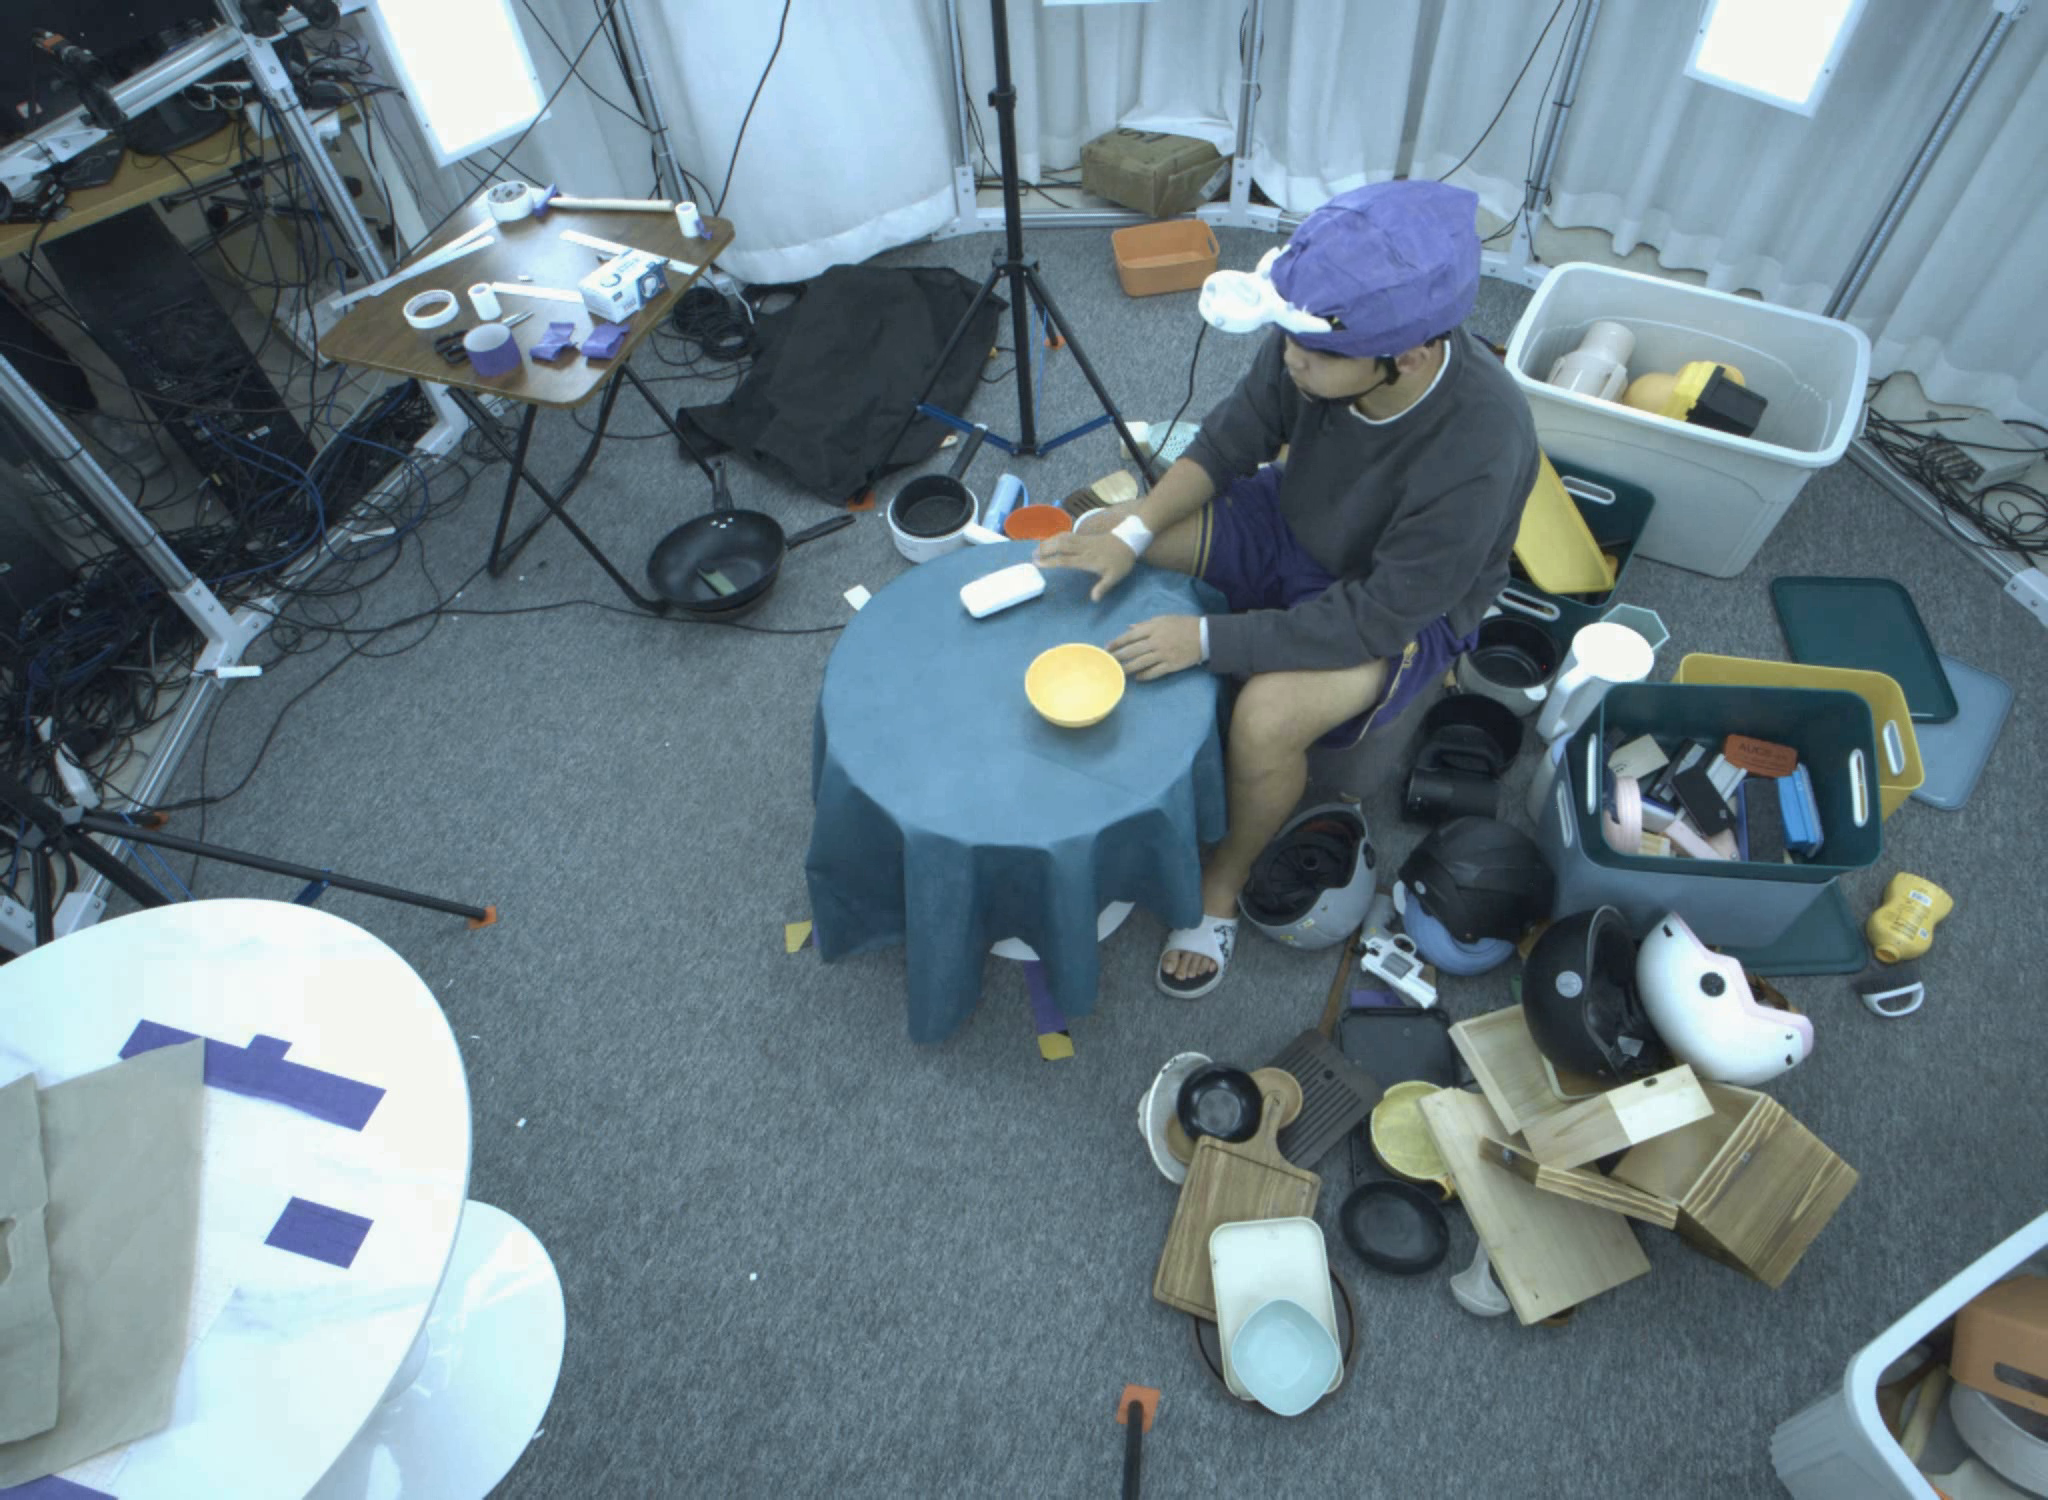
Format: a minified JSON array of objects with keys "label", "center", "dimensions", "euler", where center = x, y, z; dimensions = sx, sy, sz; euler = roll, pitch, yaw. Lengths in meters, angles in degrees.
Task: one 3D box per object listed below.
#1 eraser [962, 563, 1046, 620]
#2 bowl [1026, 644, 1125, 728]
[{"label":"eraser","center":[-0.032,-0.253,1.951],"dimensions":[0.132,0.035,0.062],"euler":[-23,57,-12]},{"label":"bowl","center":[0.075,-0.083,1.813],"dimensions":[0.145,0.060,0.144],"euler":[1,54,0]}]
